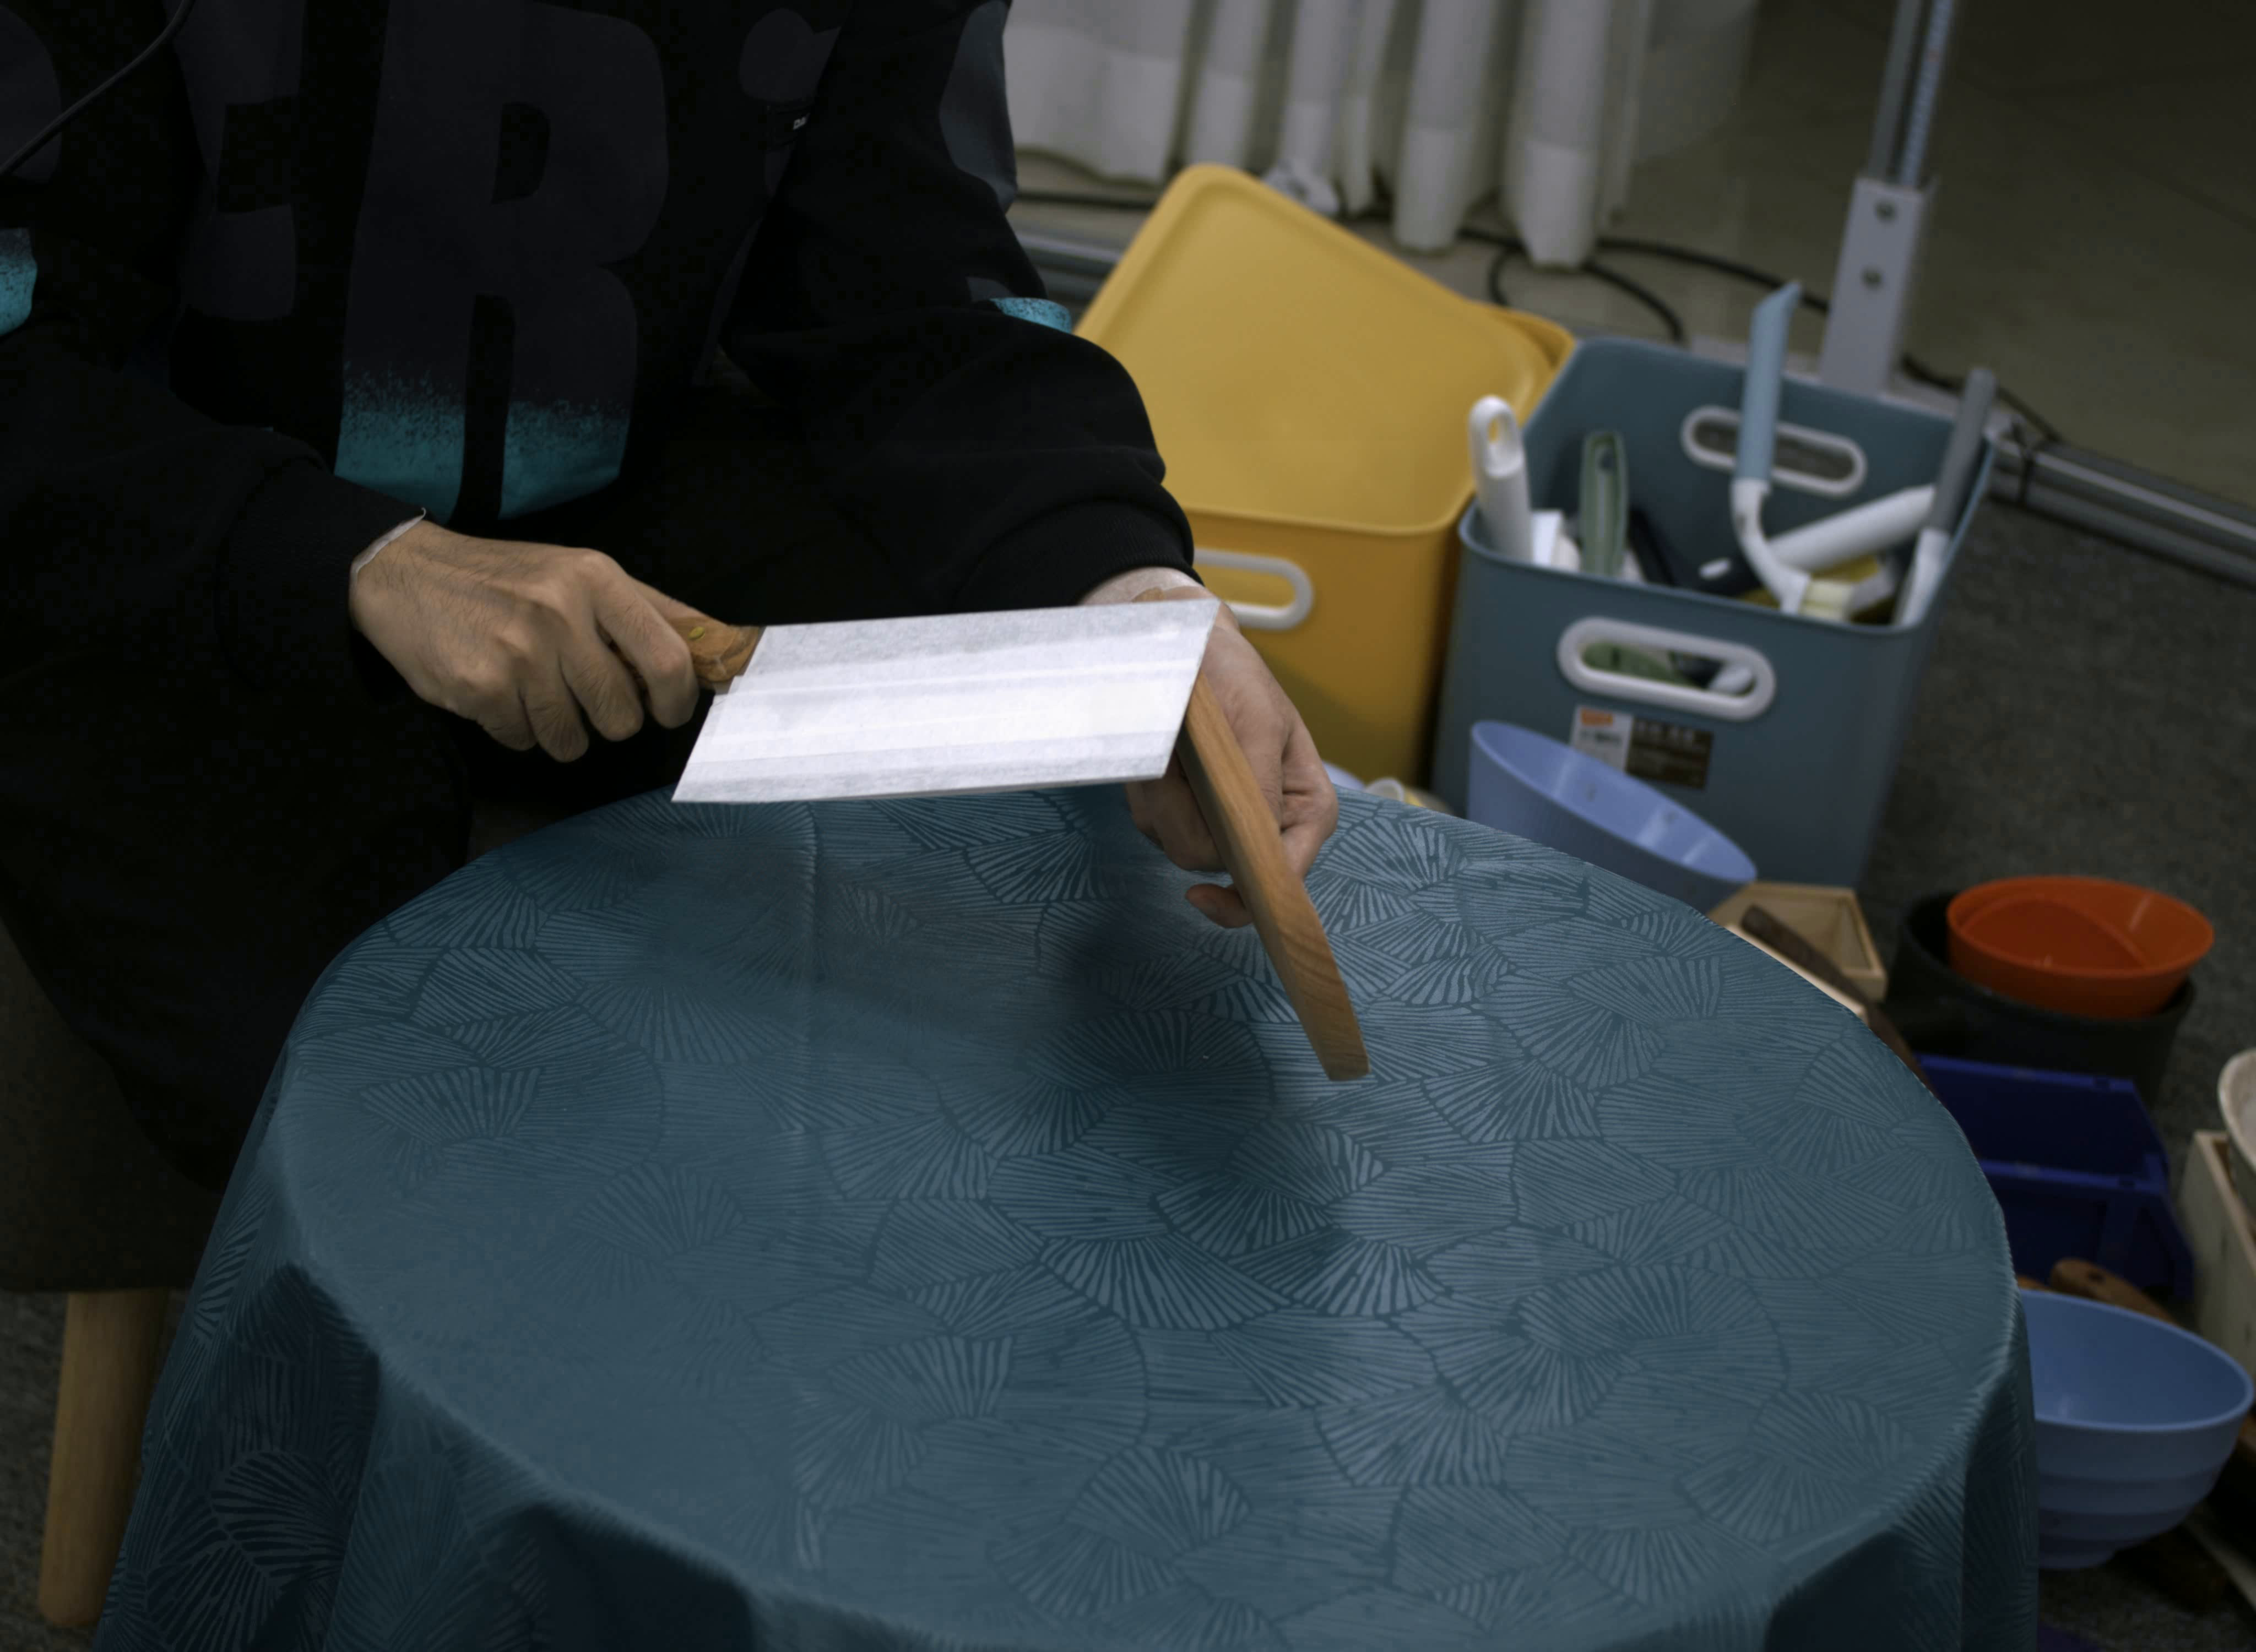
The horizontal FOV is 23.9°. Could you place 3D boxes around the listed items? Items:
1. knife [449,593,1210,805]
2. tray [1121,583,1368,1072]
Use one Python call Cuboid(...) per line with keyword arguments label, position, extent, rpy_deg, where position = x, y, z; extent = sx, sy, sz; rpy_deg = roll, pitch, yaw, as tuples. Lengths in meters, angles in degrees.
Cuboid(label="knife", position=(-0.117, -0.044, 1.916), extent=(0.306, 0.021, 0.093), rpy_deg=(-3, 45, 23))
Cuboid(label="tray", position=(0.039, 0.000, 1.872), extent=(0.020, 0.101, 0.233), rpy_deg=(-22, 39, -4))
